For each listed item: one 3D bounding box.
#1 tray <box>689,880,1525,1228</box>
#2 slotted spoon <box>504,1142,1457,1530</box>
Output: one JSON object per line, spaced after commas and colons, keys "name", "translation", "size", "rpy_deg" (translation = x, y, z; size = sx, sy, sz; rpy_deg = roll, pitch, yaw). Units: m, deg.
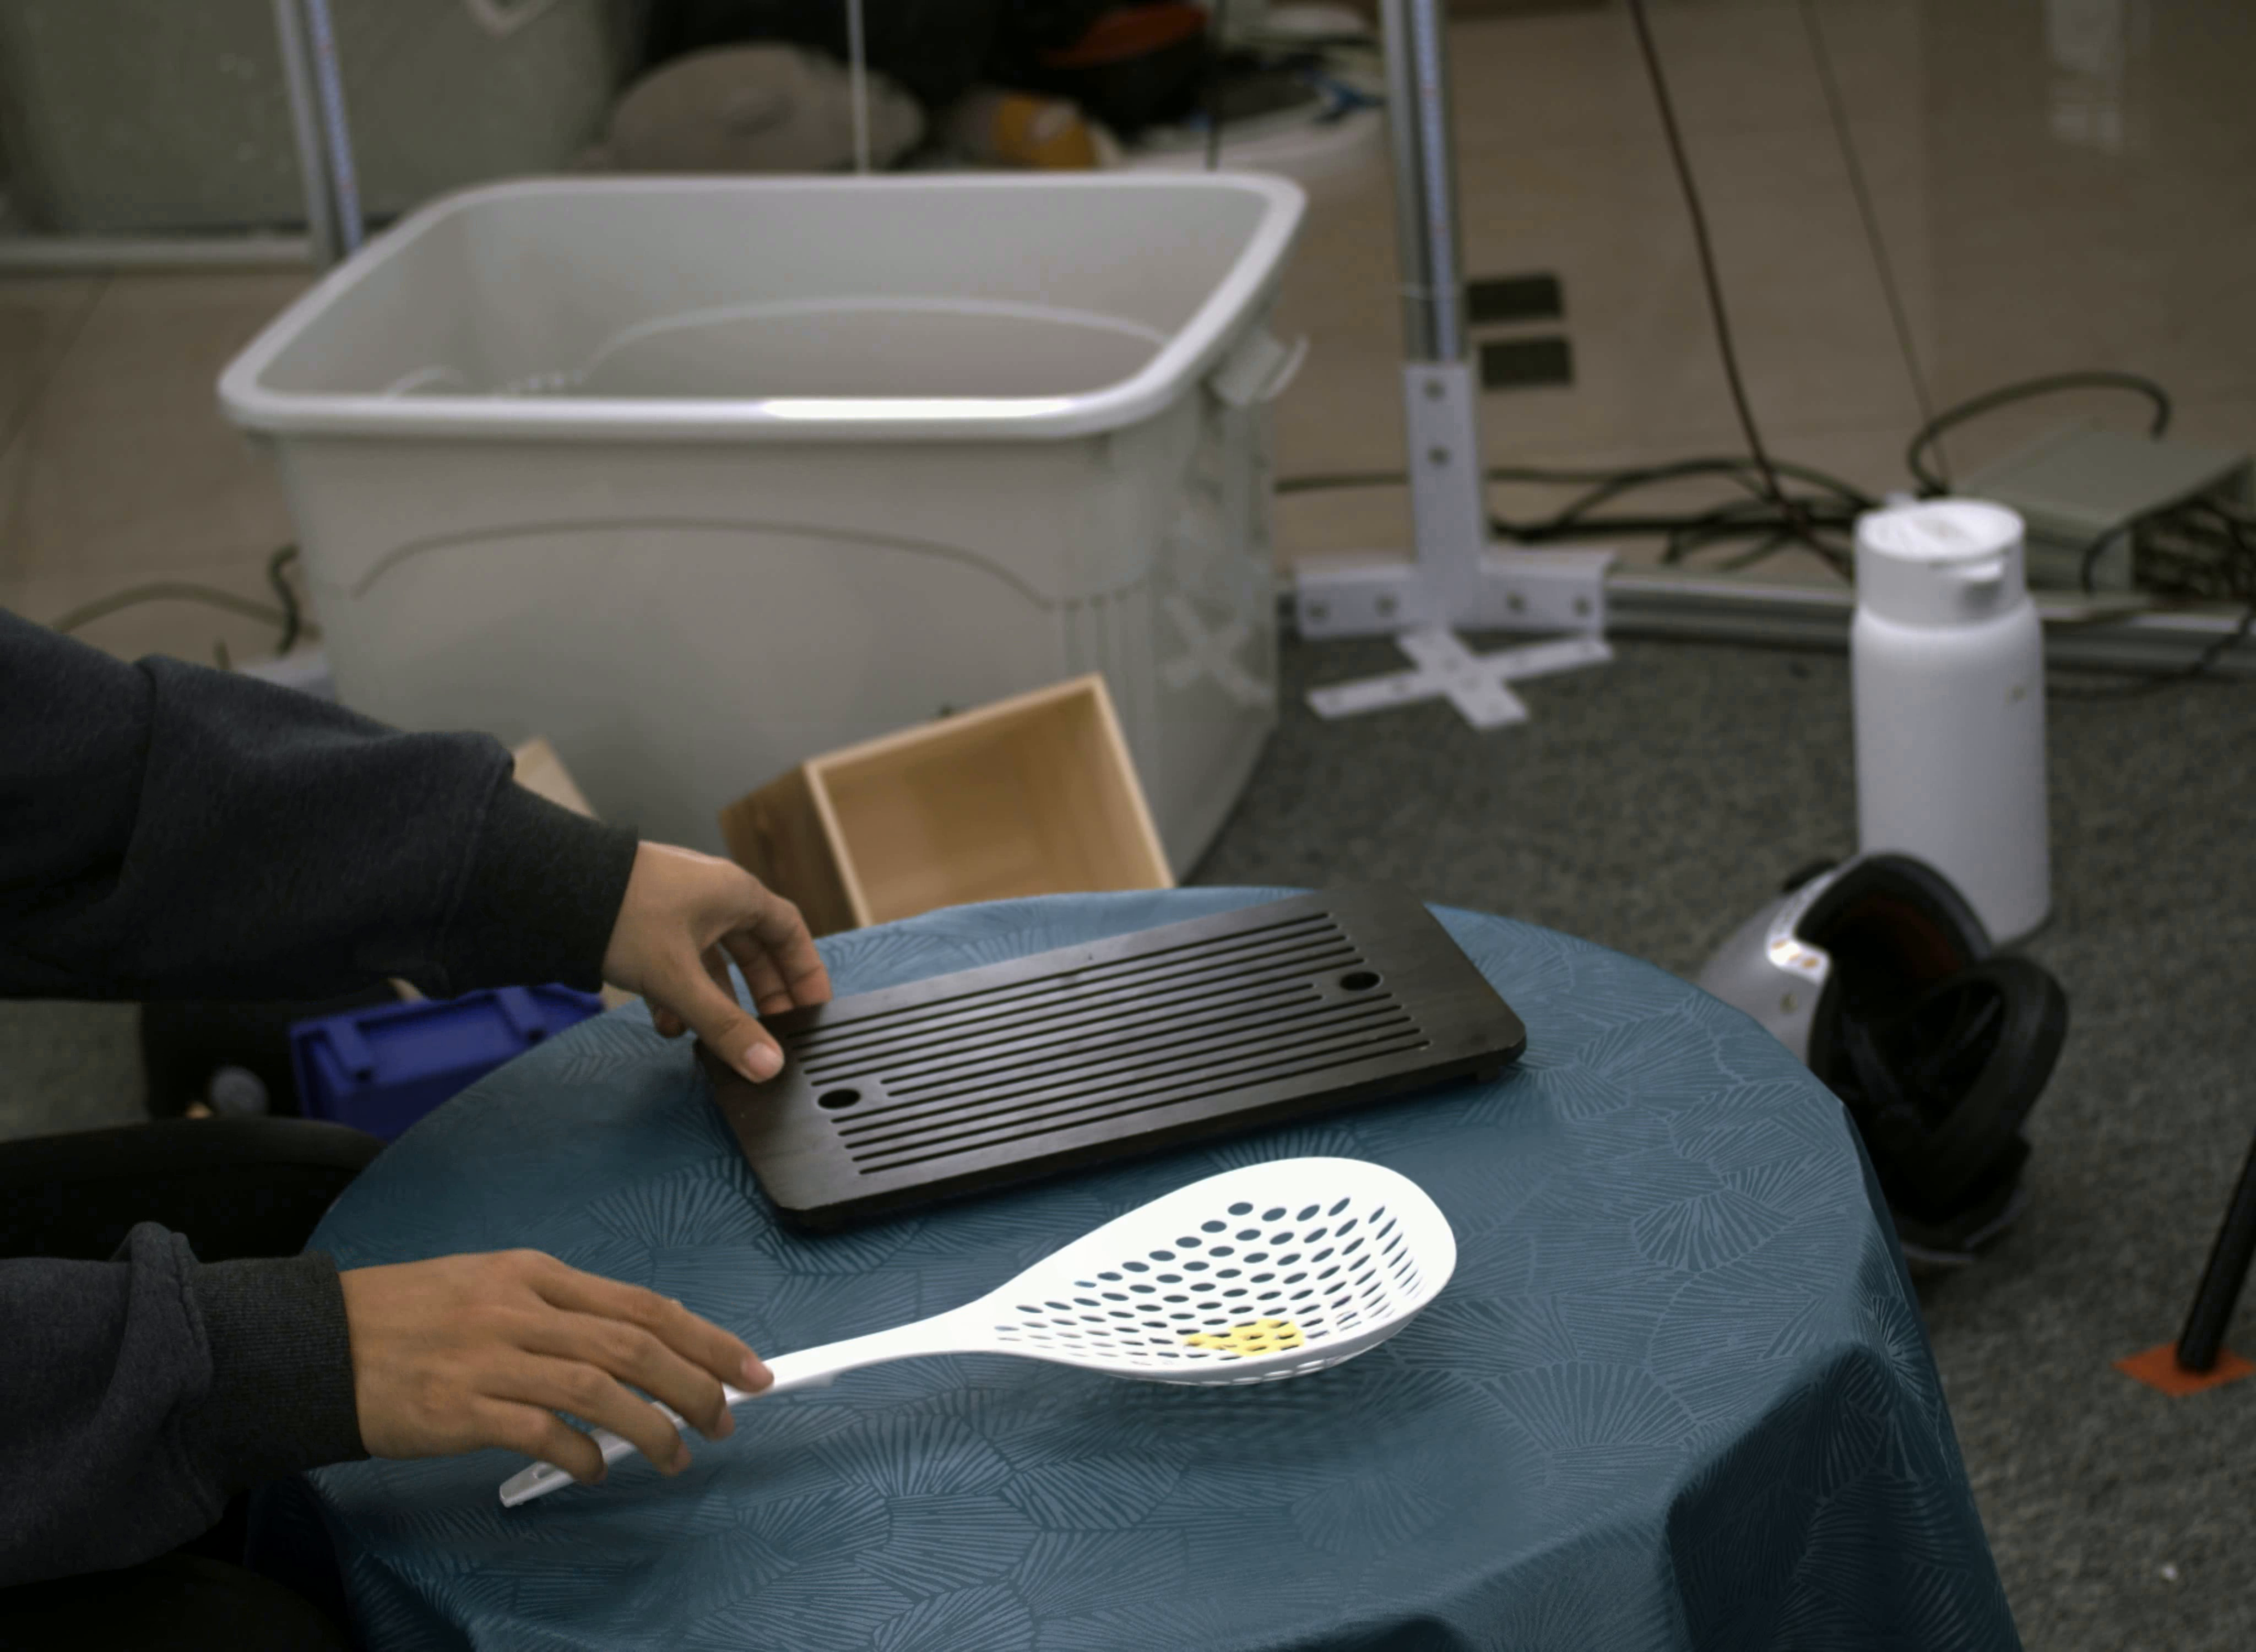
{"name": "tray", "translation": [-0.010, 0.089, 2.236], "size": [0.305, 0.019, 0.168], "rpy_deg": [-12, 25, -12]}
{"name": "slotted spoon", "translation": [-0.053, 0.188, 2.006], "size": [0.347, 0.051, 0.135], "rpy_deg": [-11, 27, -9]}
